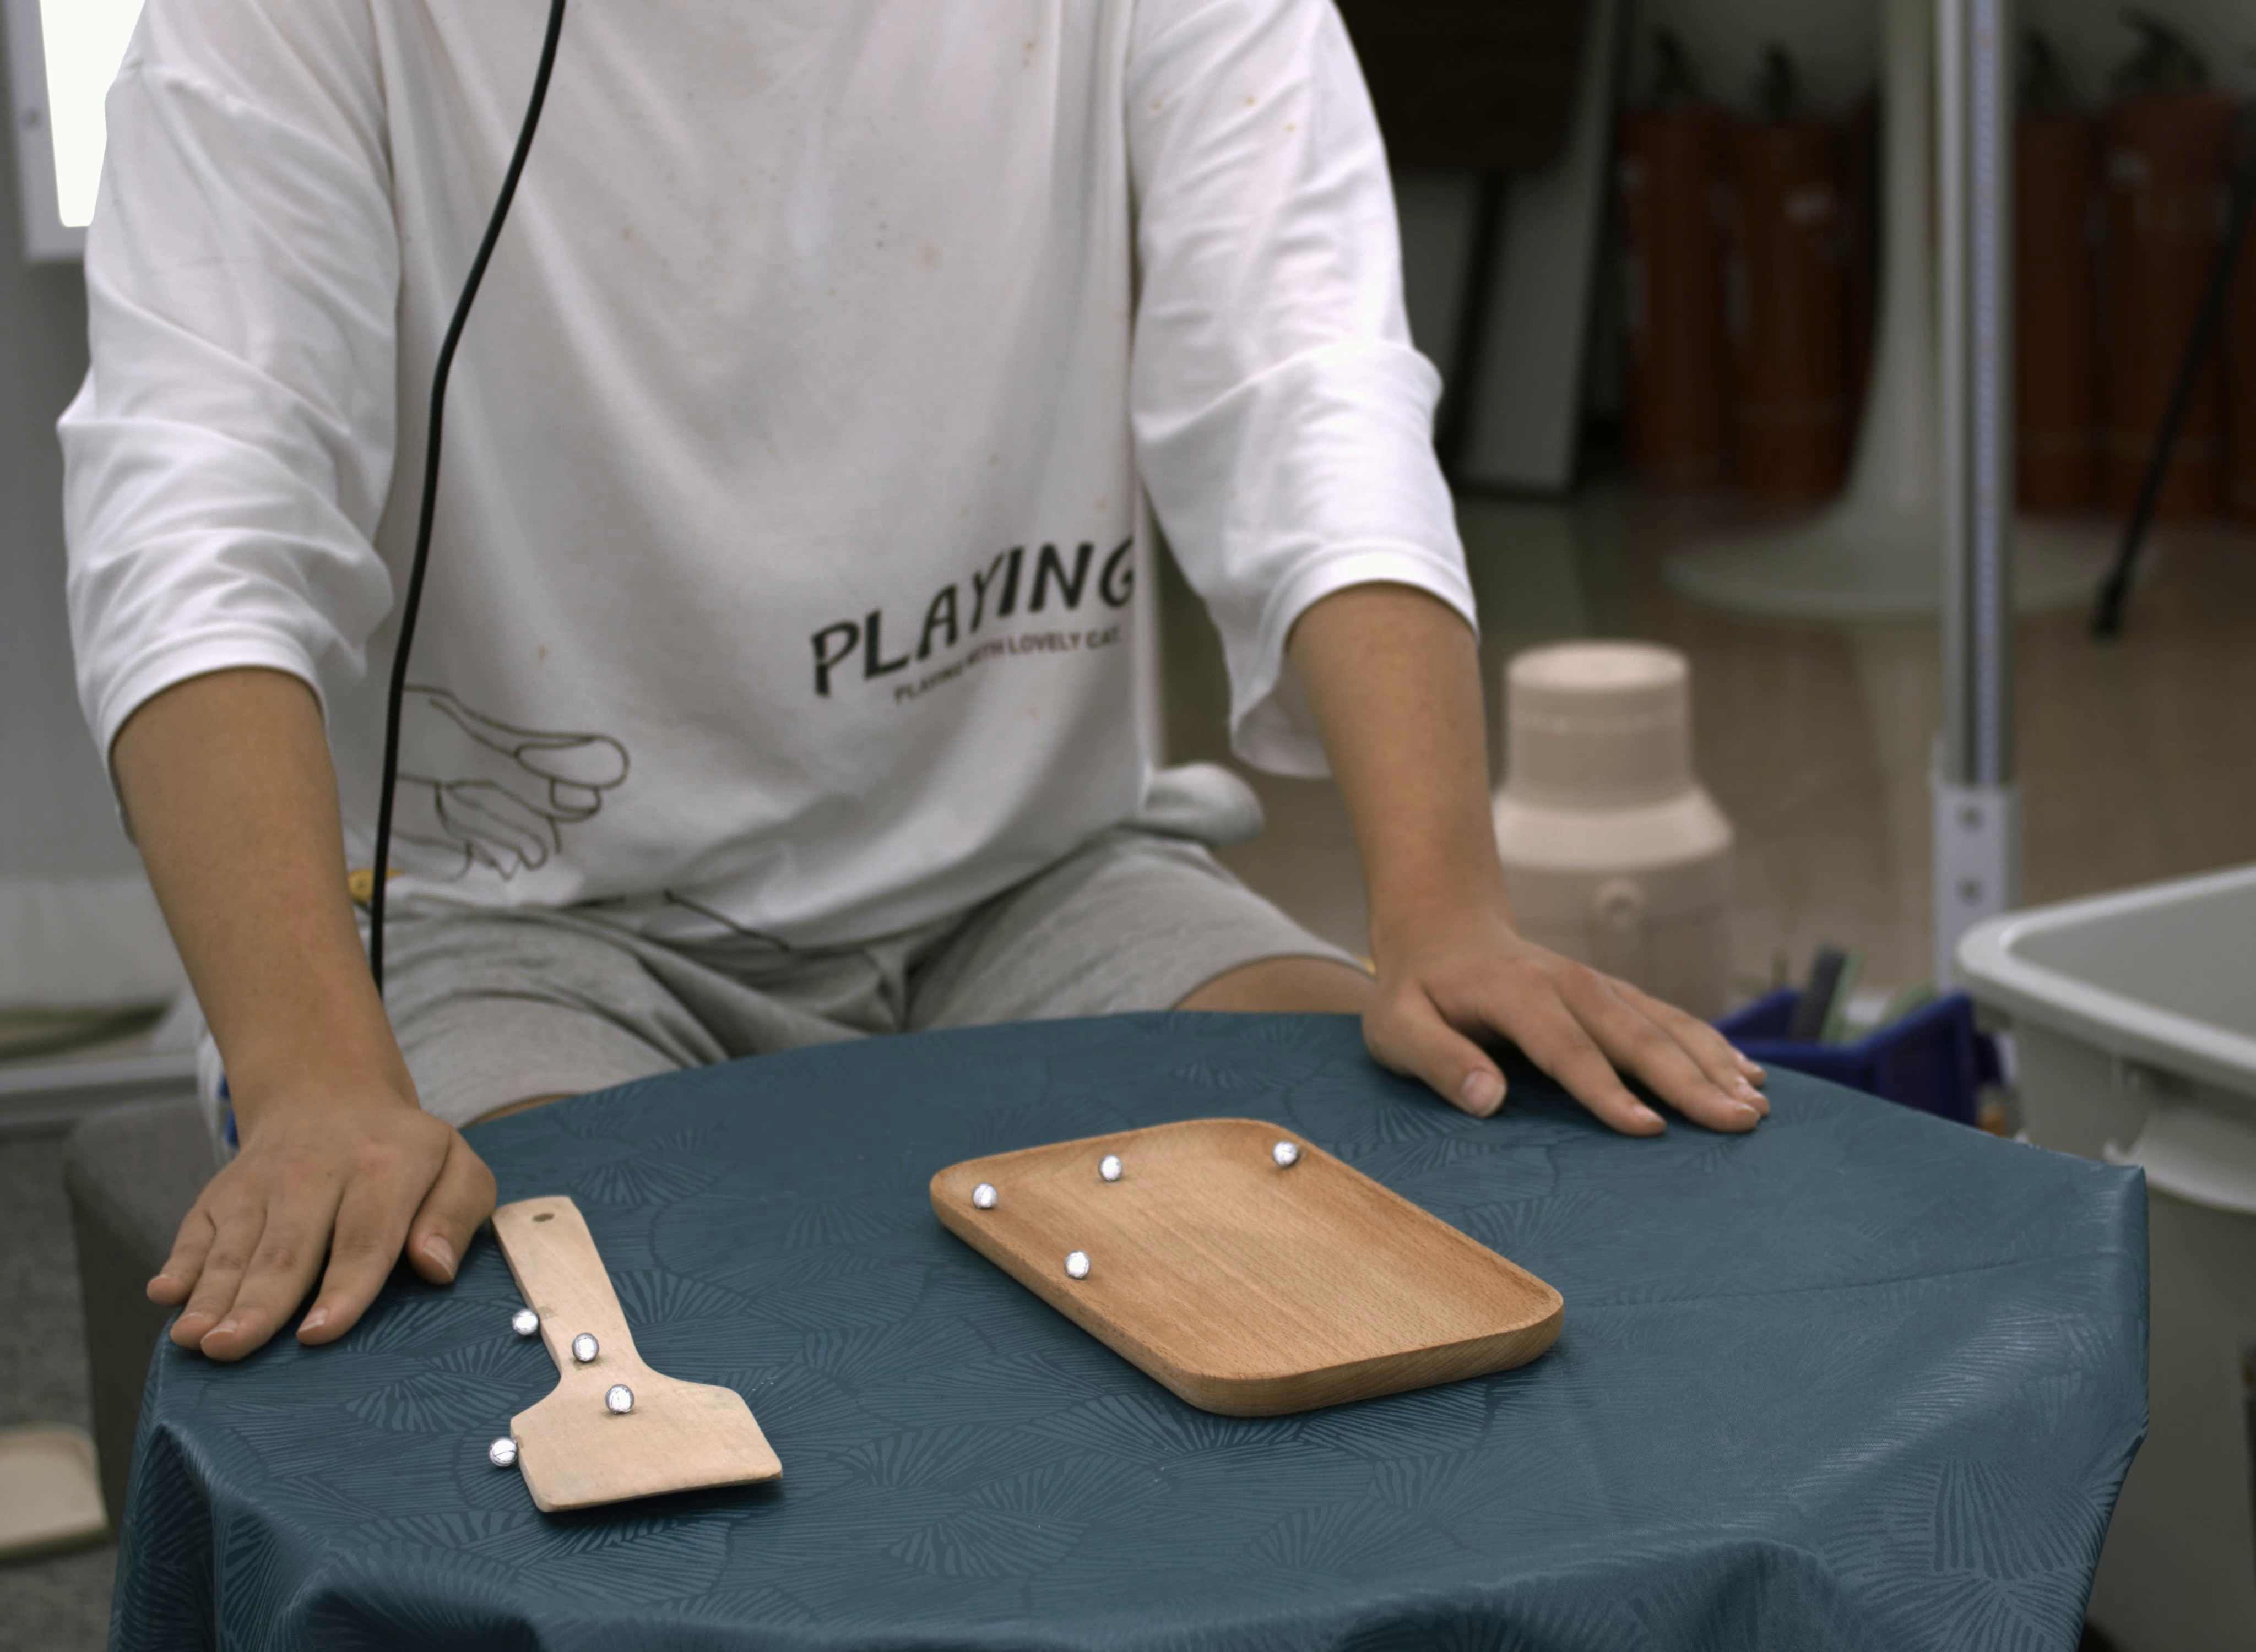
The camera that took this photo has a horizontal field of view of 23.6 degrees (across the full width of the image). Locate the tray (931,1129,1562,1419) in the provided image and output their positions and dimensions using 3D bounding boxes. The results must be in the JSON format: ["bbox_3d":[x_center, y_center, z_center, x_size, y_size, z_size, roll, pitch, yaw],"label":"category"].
[{"bbox_3d":[0.033,0.136,1.671,0.128,0.023,0.253,-11,15,-19],"label":"tray"}]

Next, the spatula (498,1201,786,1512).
[{"bbox_3d":[-0.163,0.158,1.648,0.071,0.011,0.295,-8,14,-12],"label":"spatula"}]
